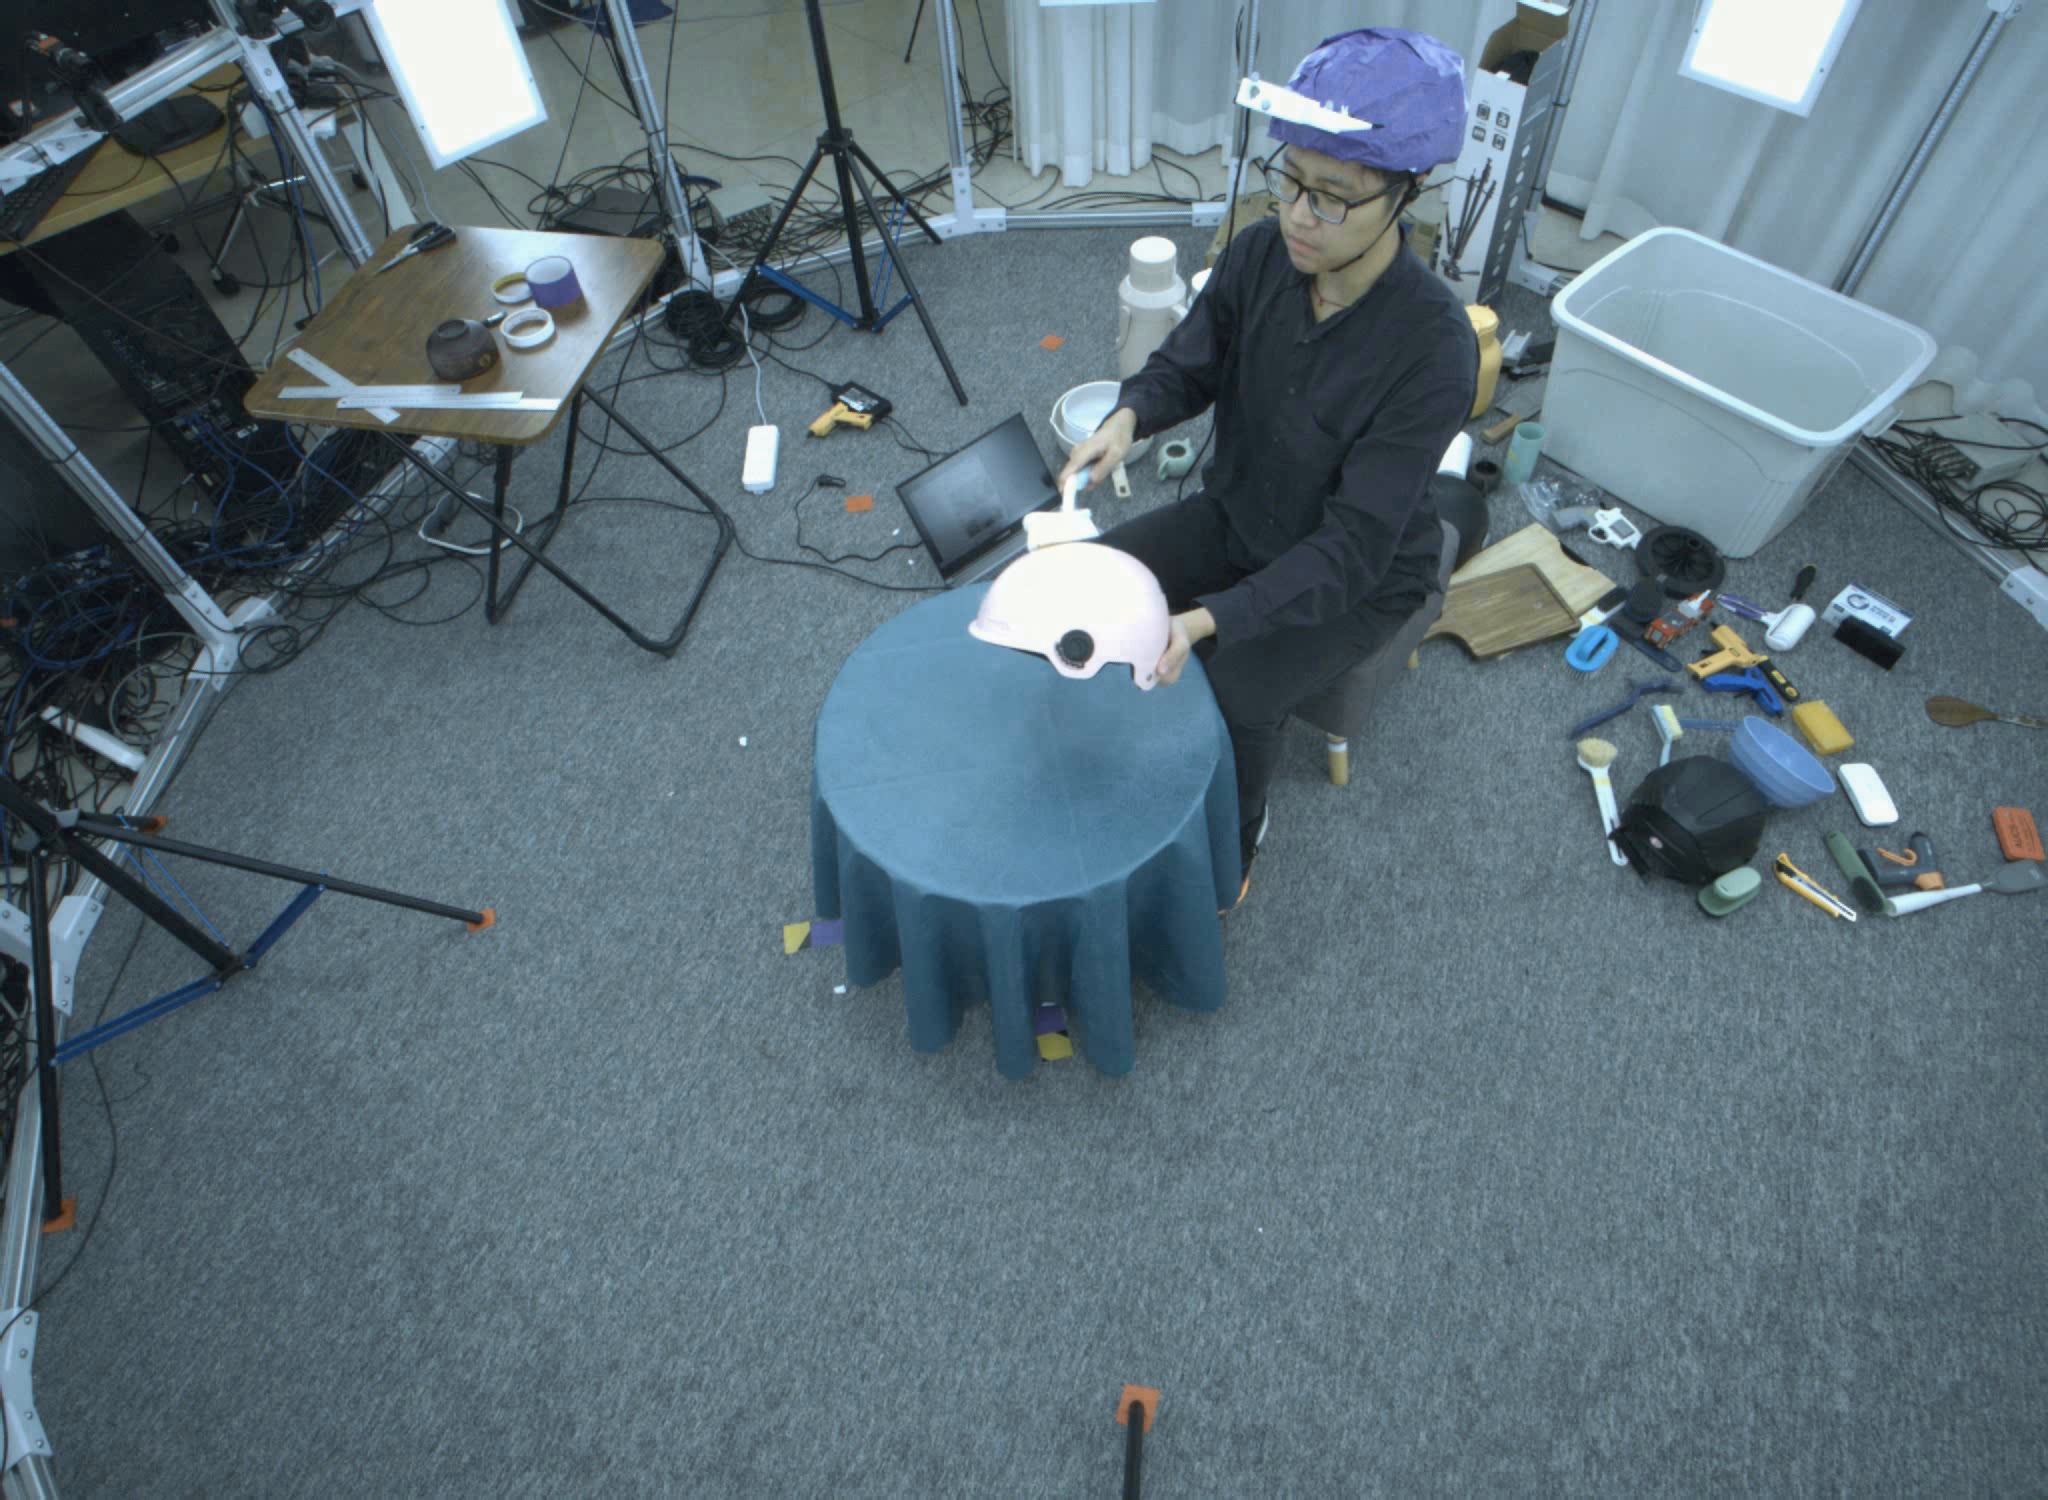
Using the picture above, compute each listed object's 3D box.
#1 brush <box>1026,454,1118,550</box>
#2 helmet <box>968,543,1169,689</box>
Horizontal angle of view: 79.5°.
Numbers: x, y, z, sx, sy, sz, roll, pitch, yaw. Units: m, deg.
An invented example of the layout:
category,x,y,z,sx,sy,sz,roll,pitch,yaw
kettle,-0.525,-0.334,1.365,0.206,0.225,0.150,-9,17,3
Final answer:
category,x,y,z,sx,sy,sz,roll,pitch,yaw
brush,0.088,-0.336,1.709,0.082,0.085,0.327,21,32,13
helmet,0.069,-0.190,1.597,0.270,0.159,0.230,7,18,-19
